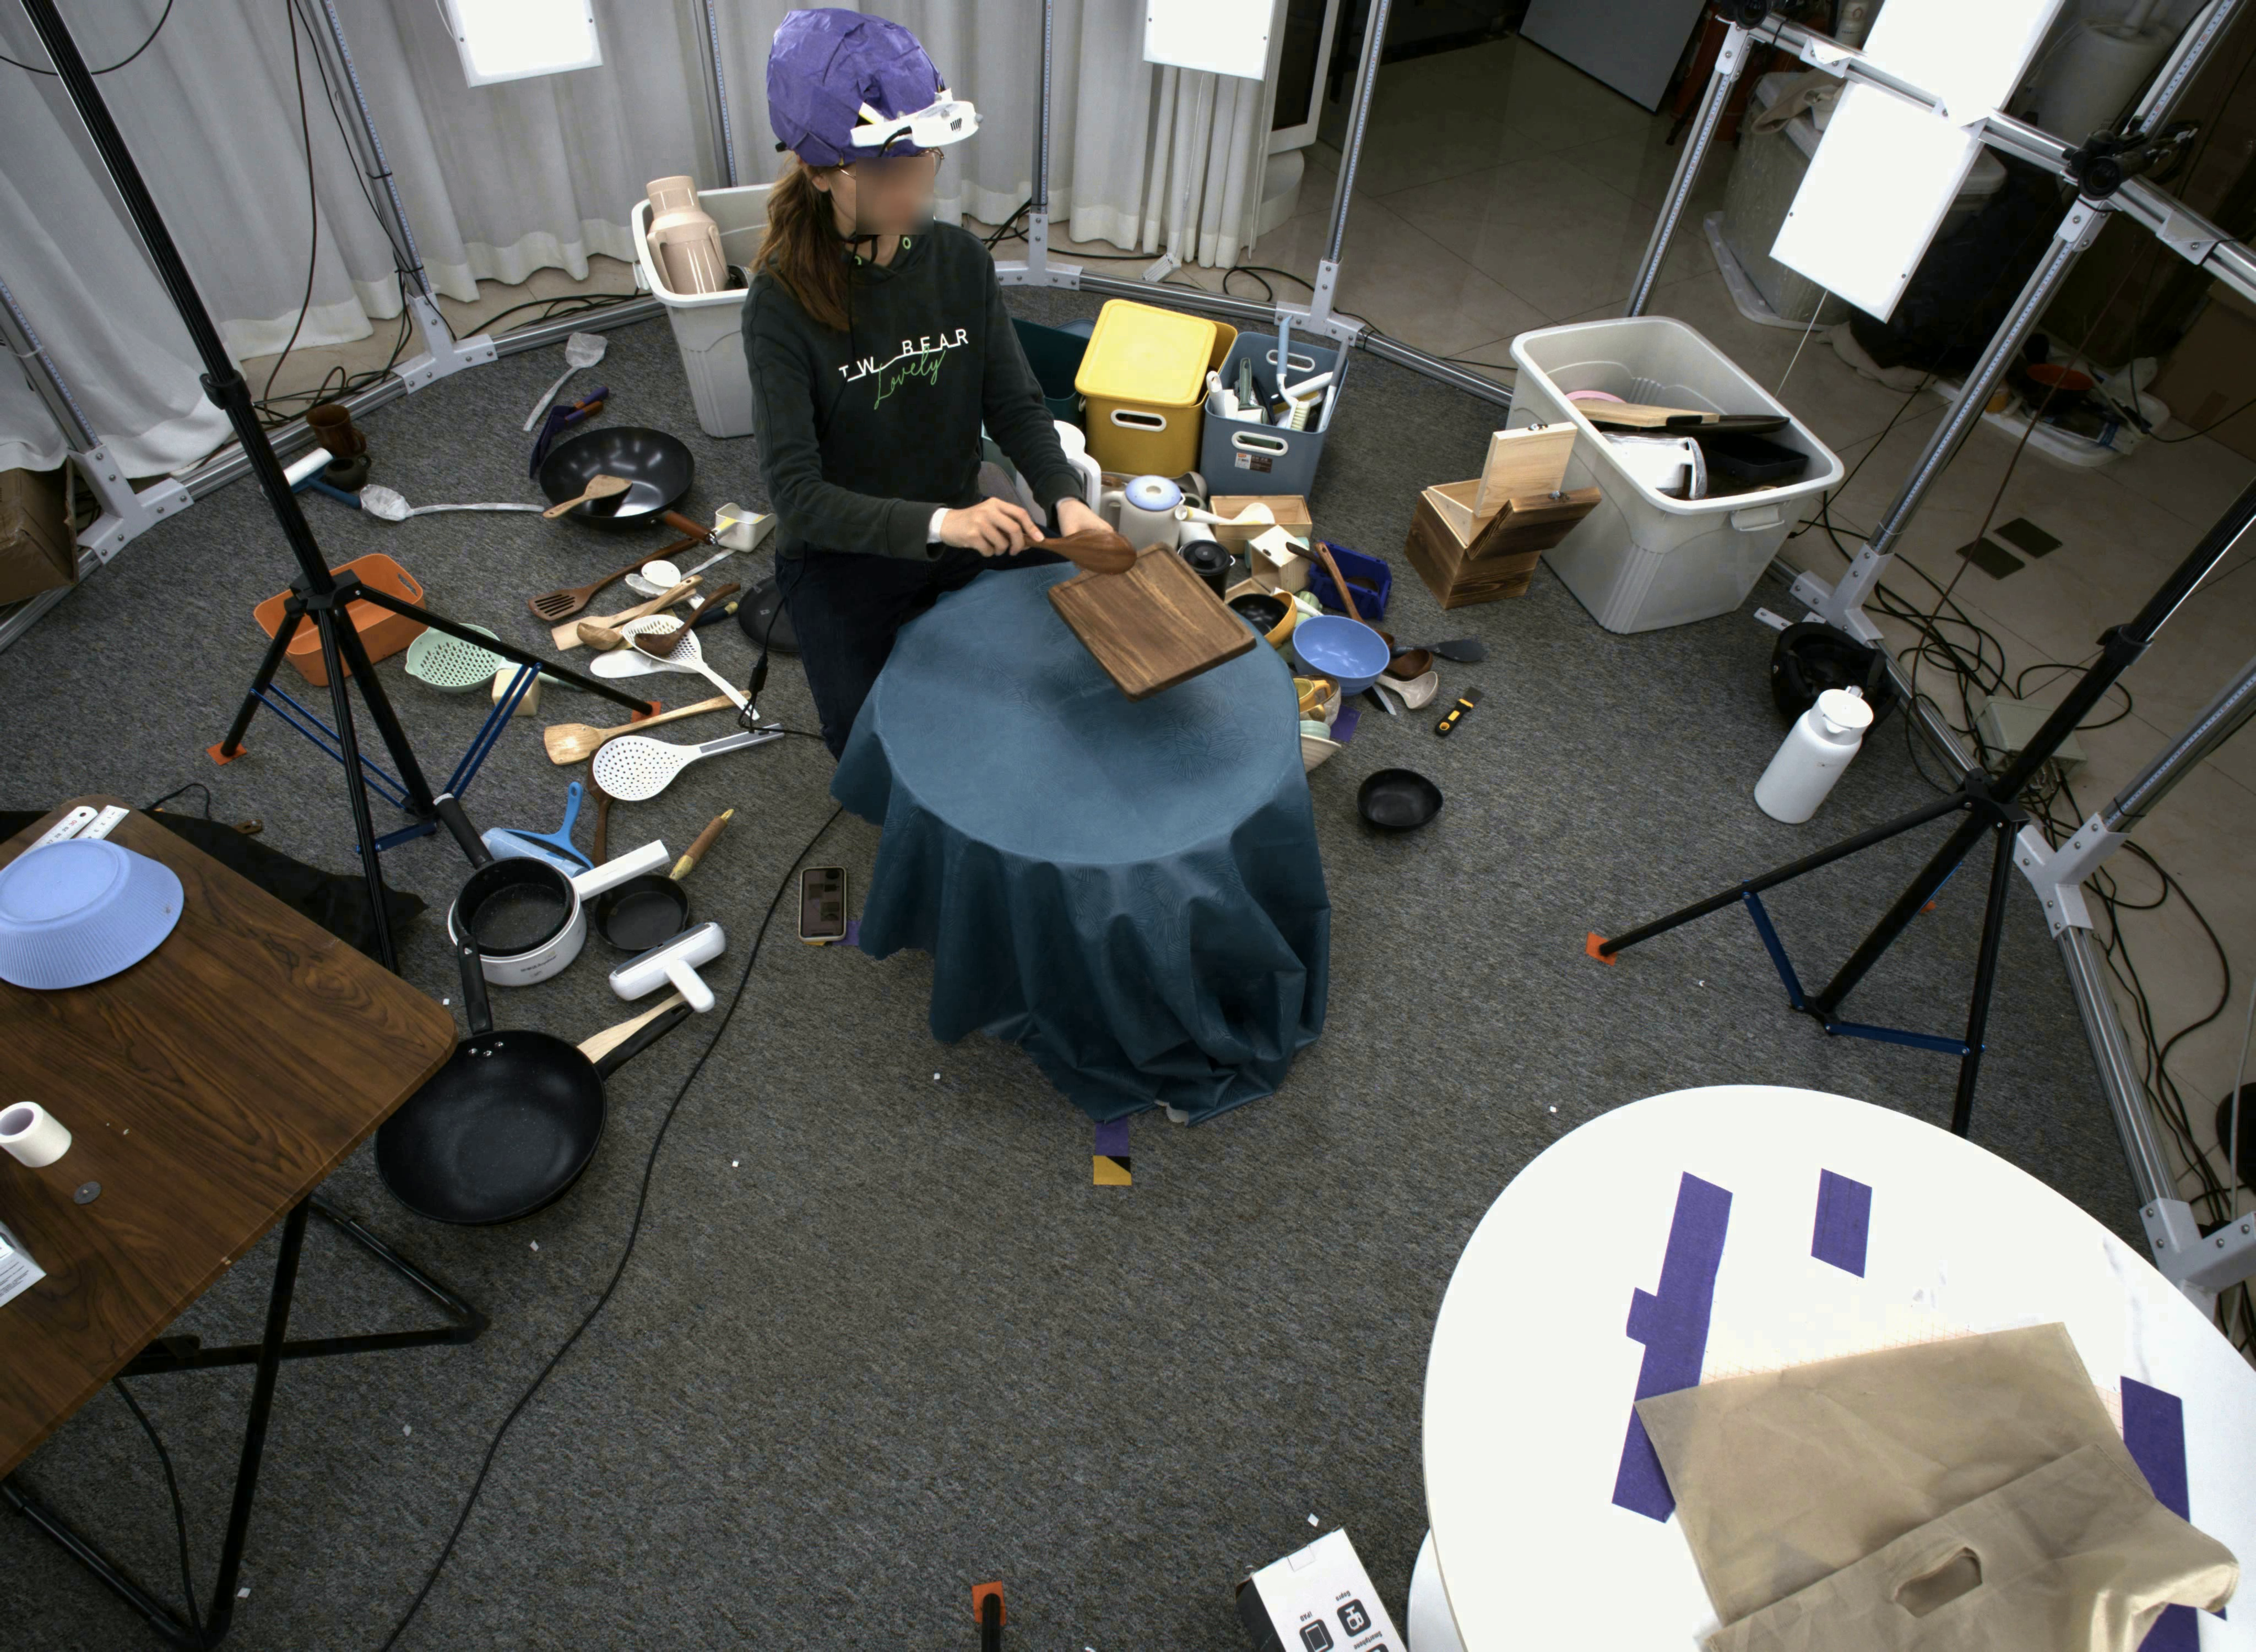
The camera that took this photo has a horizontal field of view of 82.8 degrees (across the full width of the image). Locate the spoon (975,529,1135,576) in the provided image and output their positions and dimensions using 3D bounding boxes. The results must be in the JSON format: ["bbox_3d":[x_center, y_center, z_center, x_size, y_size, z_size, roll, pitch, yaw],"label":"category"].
[{"bbox_3d":[-0.097,-0.362,1.688,0.216,0.074,0.017,11,59,11],"label":"spoon"}]

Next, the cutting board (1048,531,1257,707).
[{"bbox_3d":[0.007,-0.315,1.808,0.201,0.022,0.360,-26,51,-14],"label":"cutting board"}]
